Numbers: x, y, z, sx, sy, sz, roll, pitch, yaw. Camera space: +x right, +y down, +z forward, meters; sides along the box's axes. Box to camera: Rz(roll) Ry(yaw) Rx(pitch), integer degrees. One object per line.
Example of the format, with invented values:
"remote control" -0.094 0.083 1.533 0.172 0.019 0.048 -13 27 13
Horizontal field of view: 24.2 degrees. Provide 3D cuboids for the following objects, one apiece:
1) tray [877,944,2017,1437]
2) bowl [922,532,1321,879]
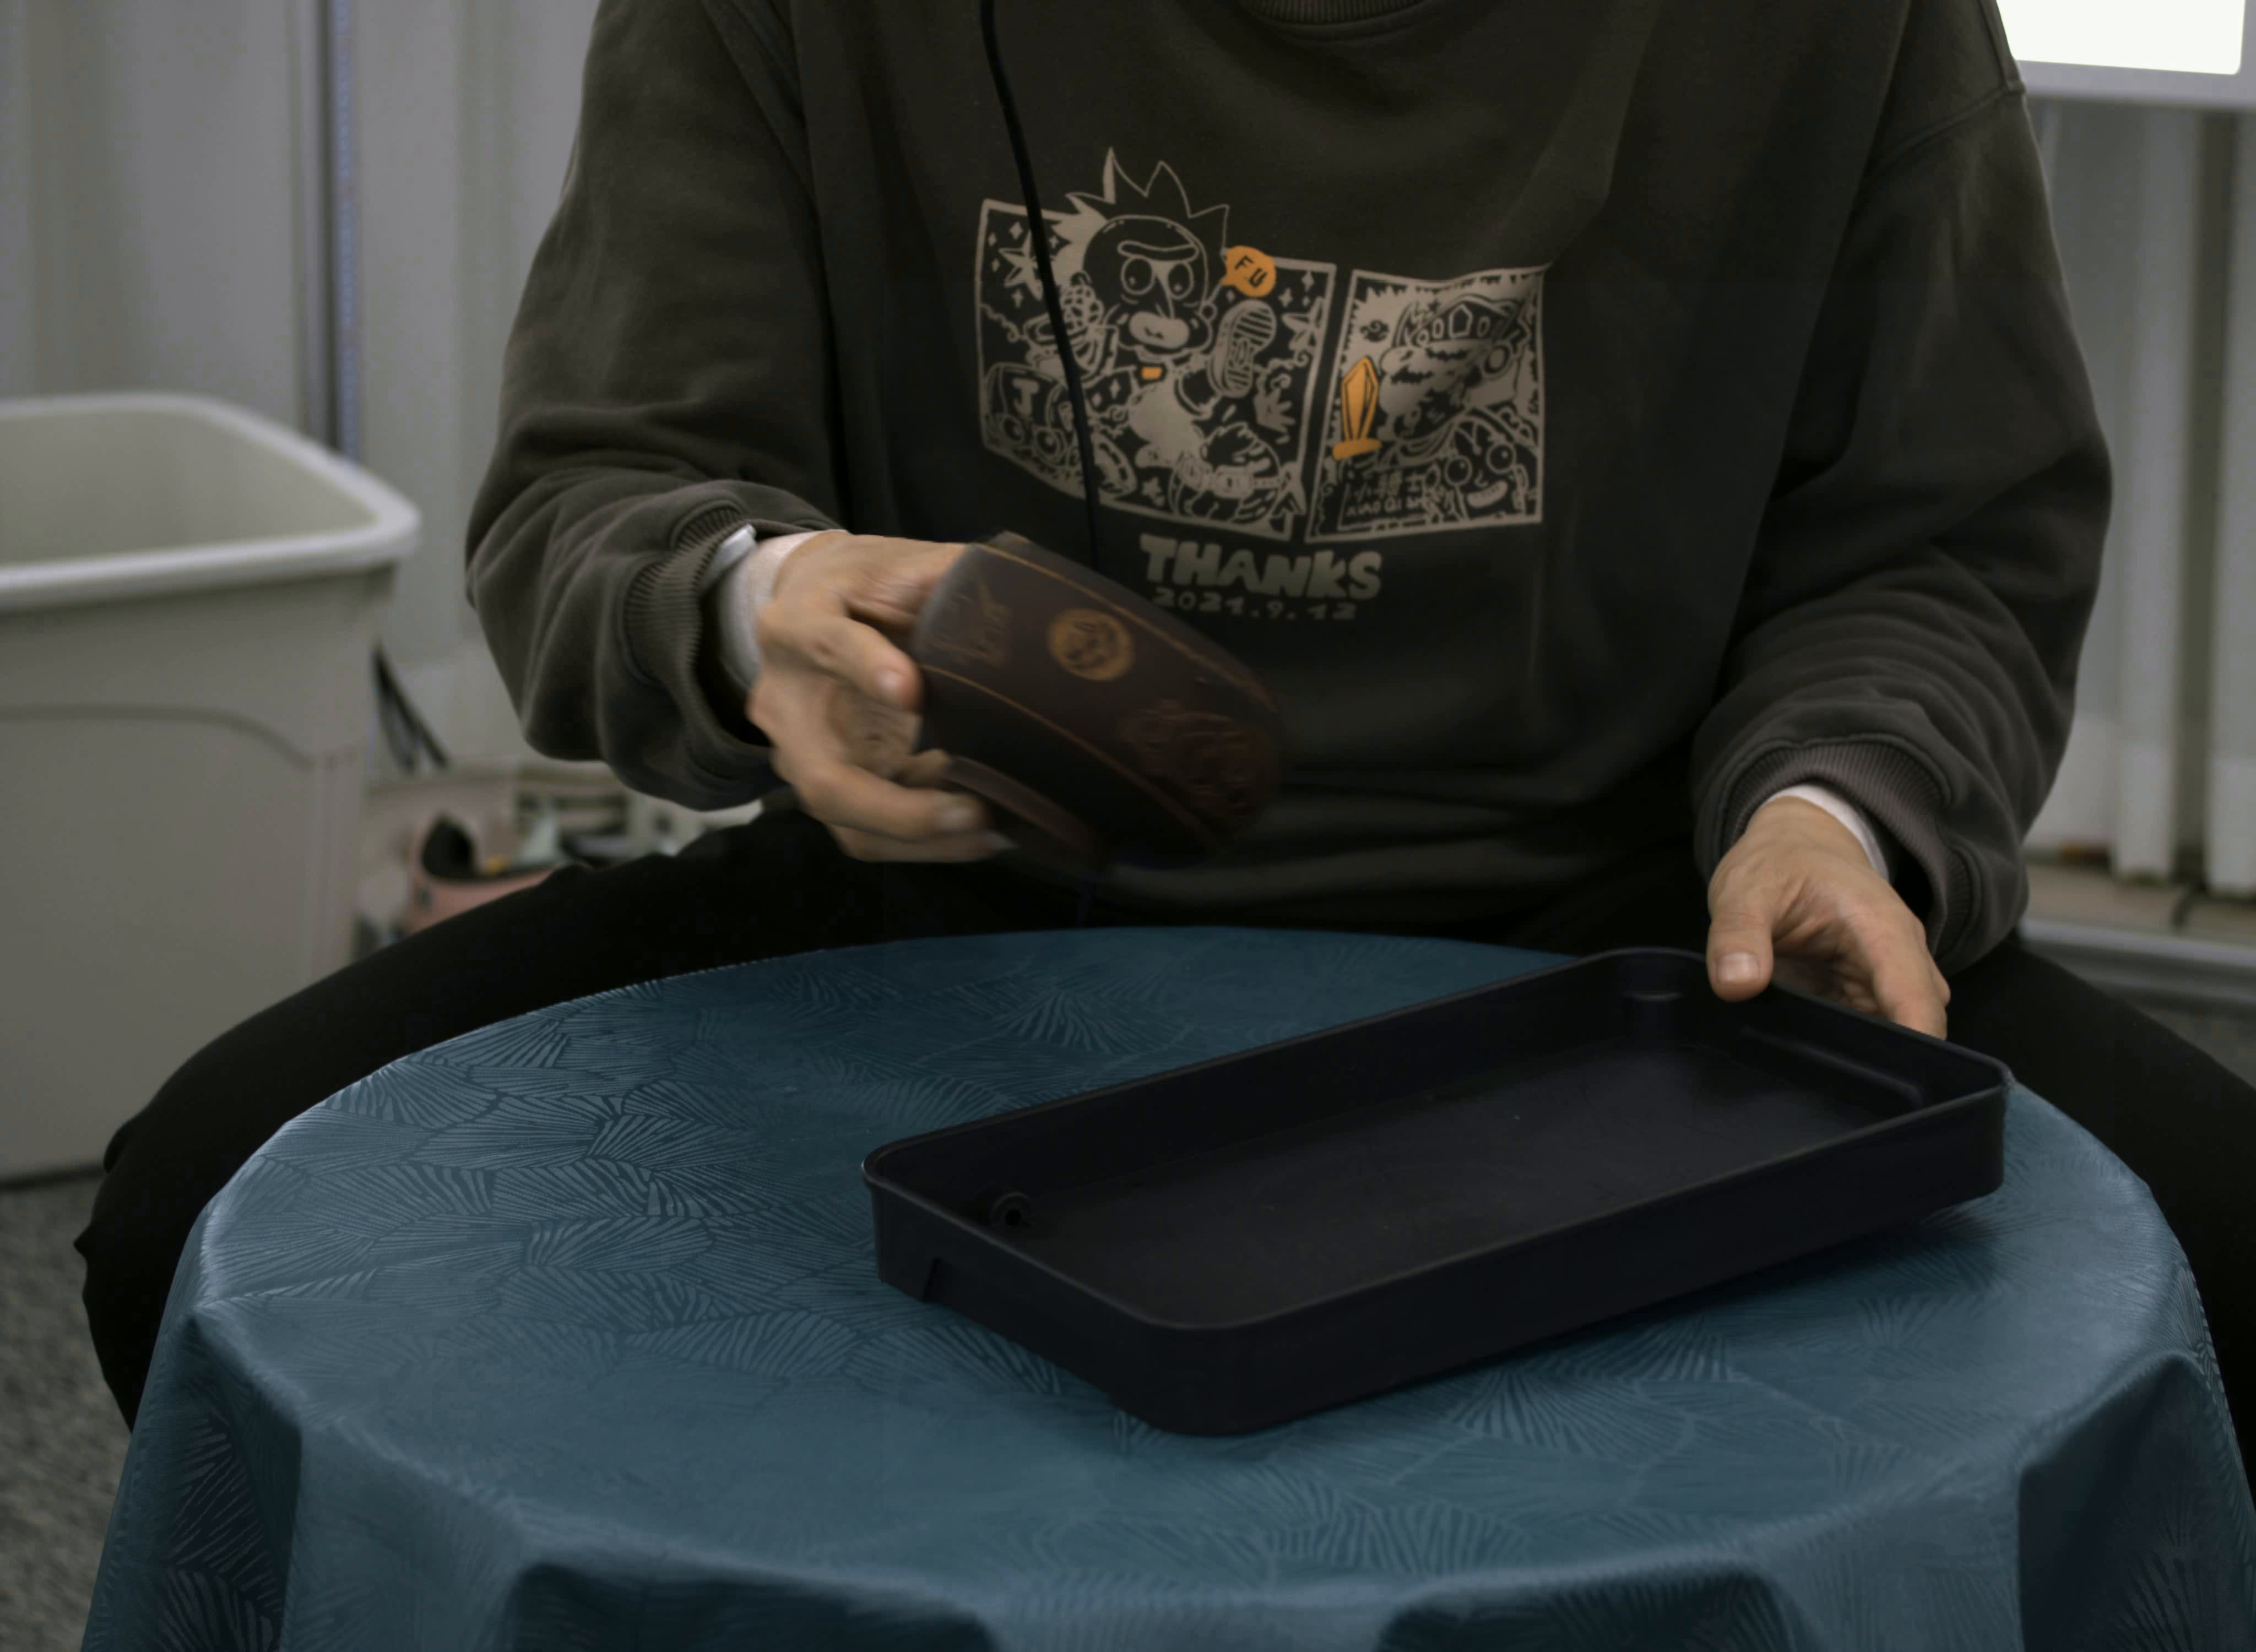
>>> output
"tray" 0.098 0.103 1.578 0.319 0.037 0.182 -14 20 -34
"bowl" -0.009 -0.028 1.549 0.117 0.070 0.118 28 -10 6
